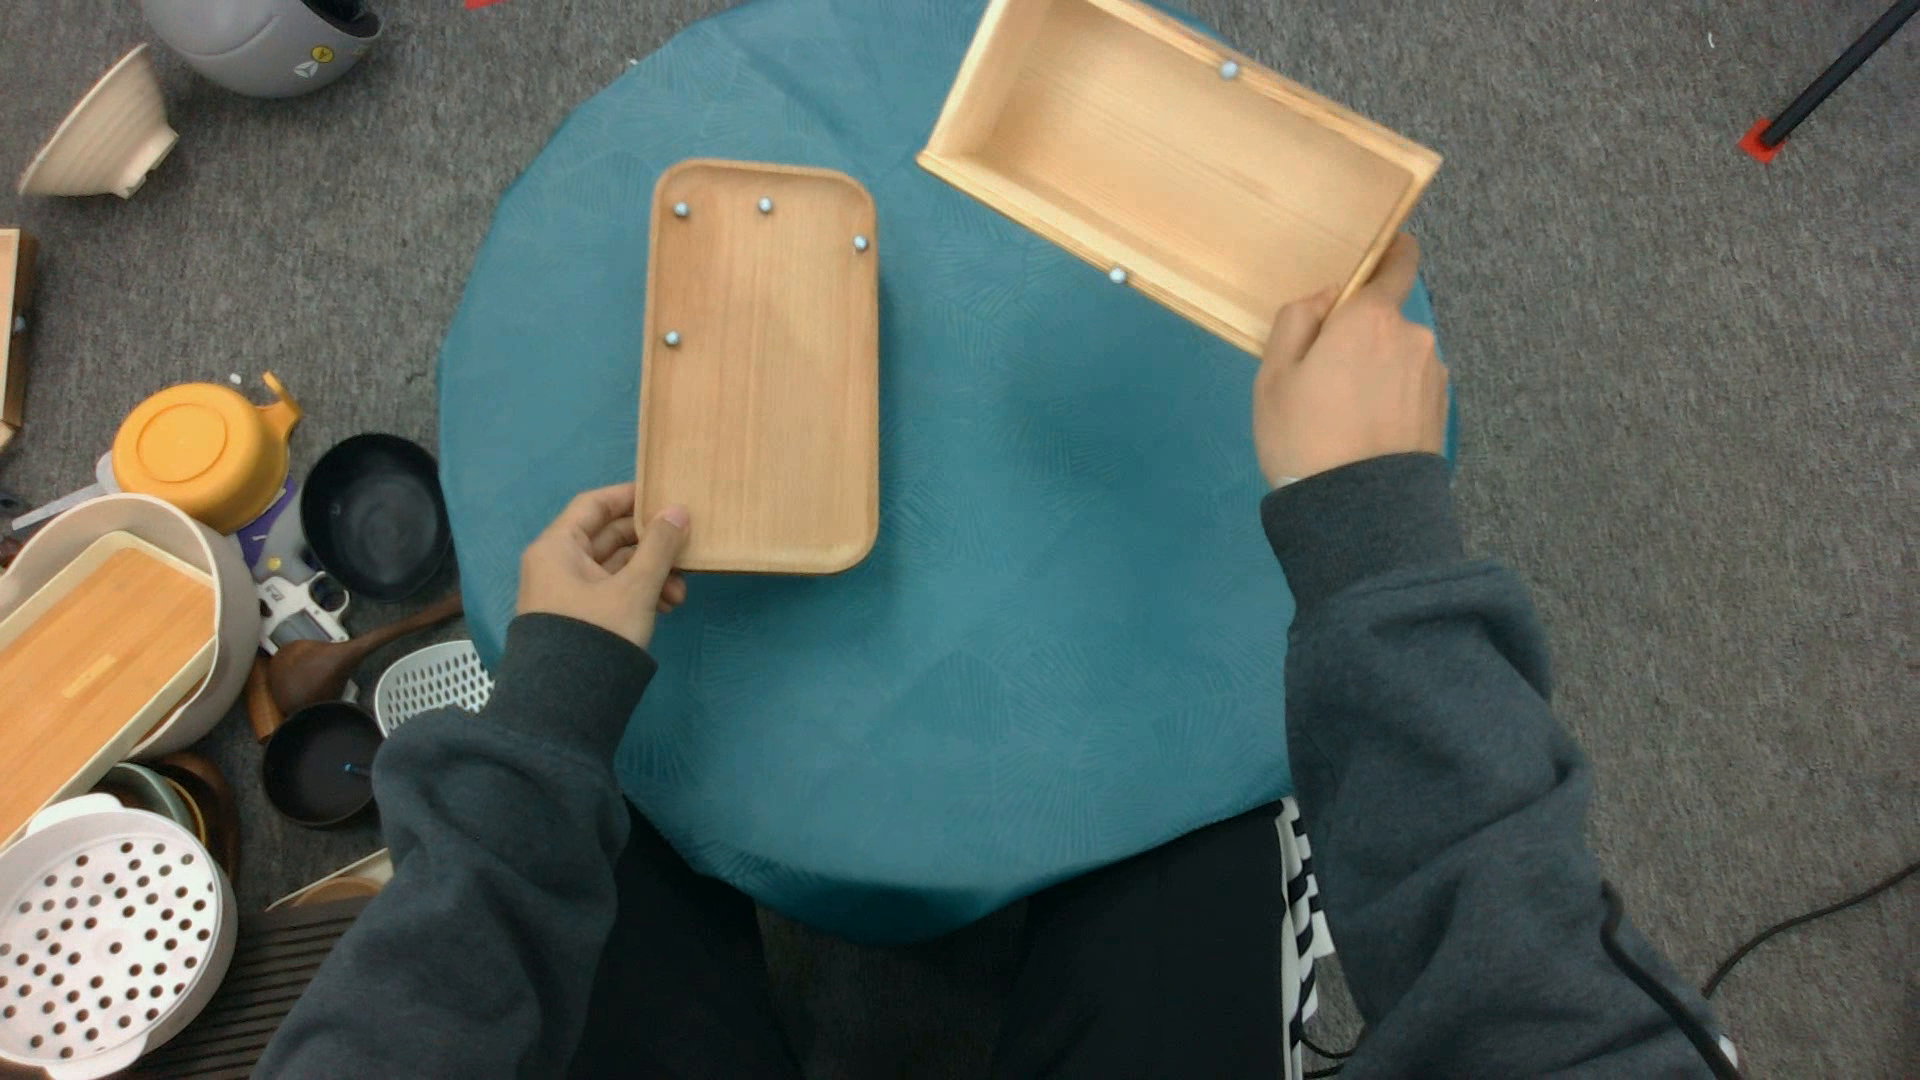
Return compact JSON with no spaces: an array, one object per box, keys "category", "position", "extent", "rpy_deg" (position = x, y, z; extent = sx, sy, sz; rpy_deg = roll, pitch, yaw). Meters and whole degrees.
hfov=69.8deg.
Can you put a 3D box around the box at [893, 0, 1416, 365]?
[{"category":"box","position":[0.090,-0.186,0.646],"extent":[0.211,0.080,0.107],"rpy_deg":[31,116,9]}]

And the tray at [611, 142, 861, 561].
[{"category":"tray","position":[-0.120,-0.107,0.754],"extent":[0.130,0.023,0.251],"rpy_deg":[1,70,-8]}]
